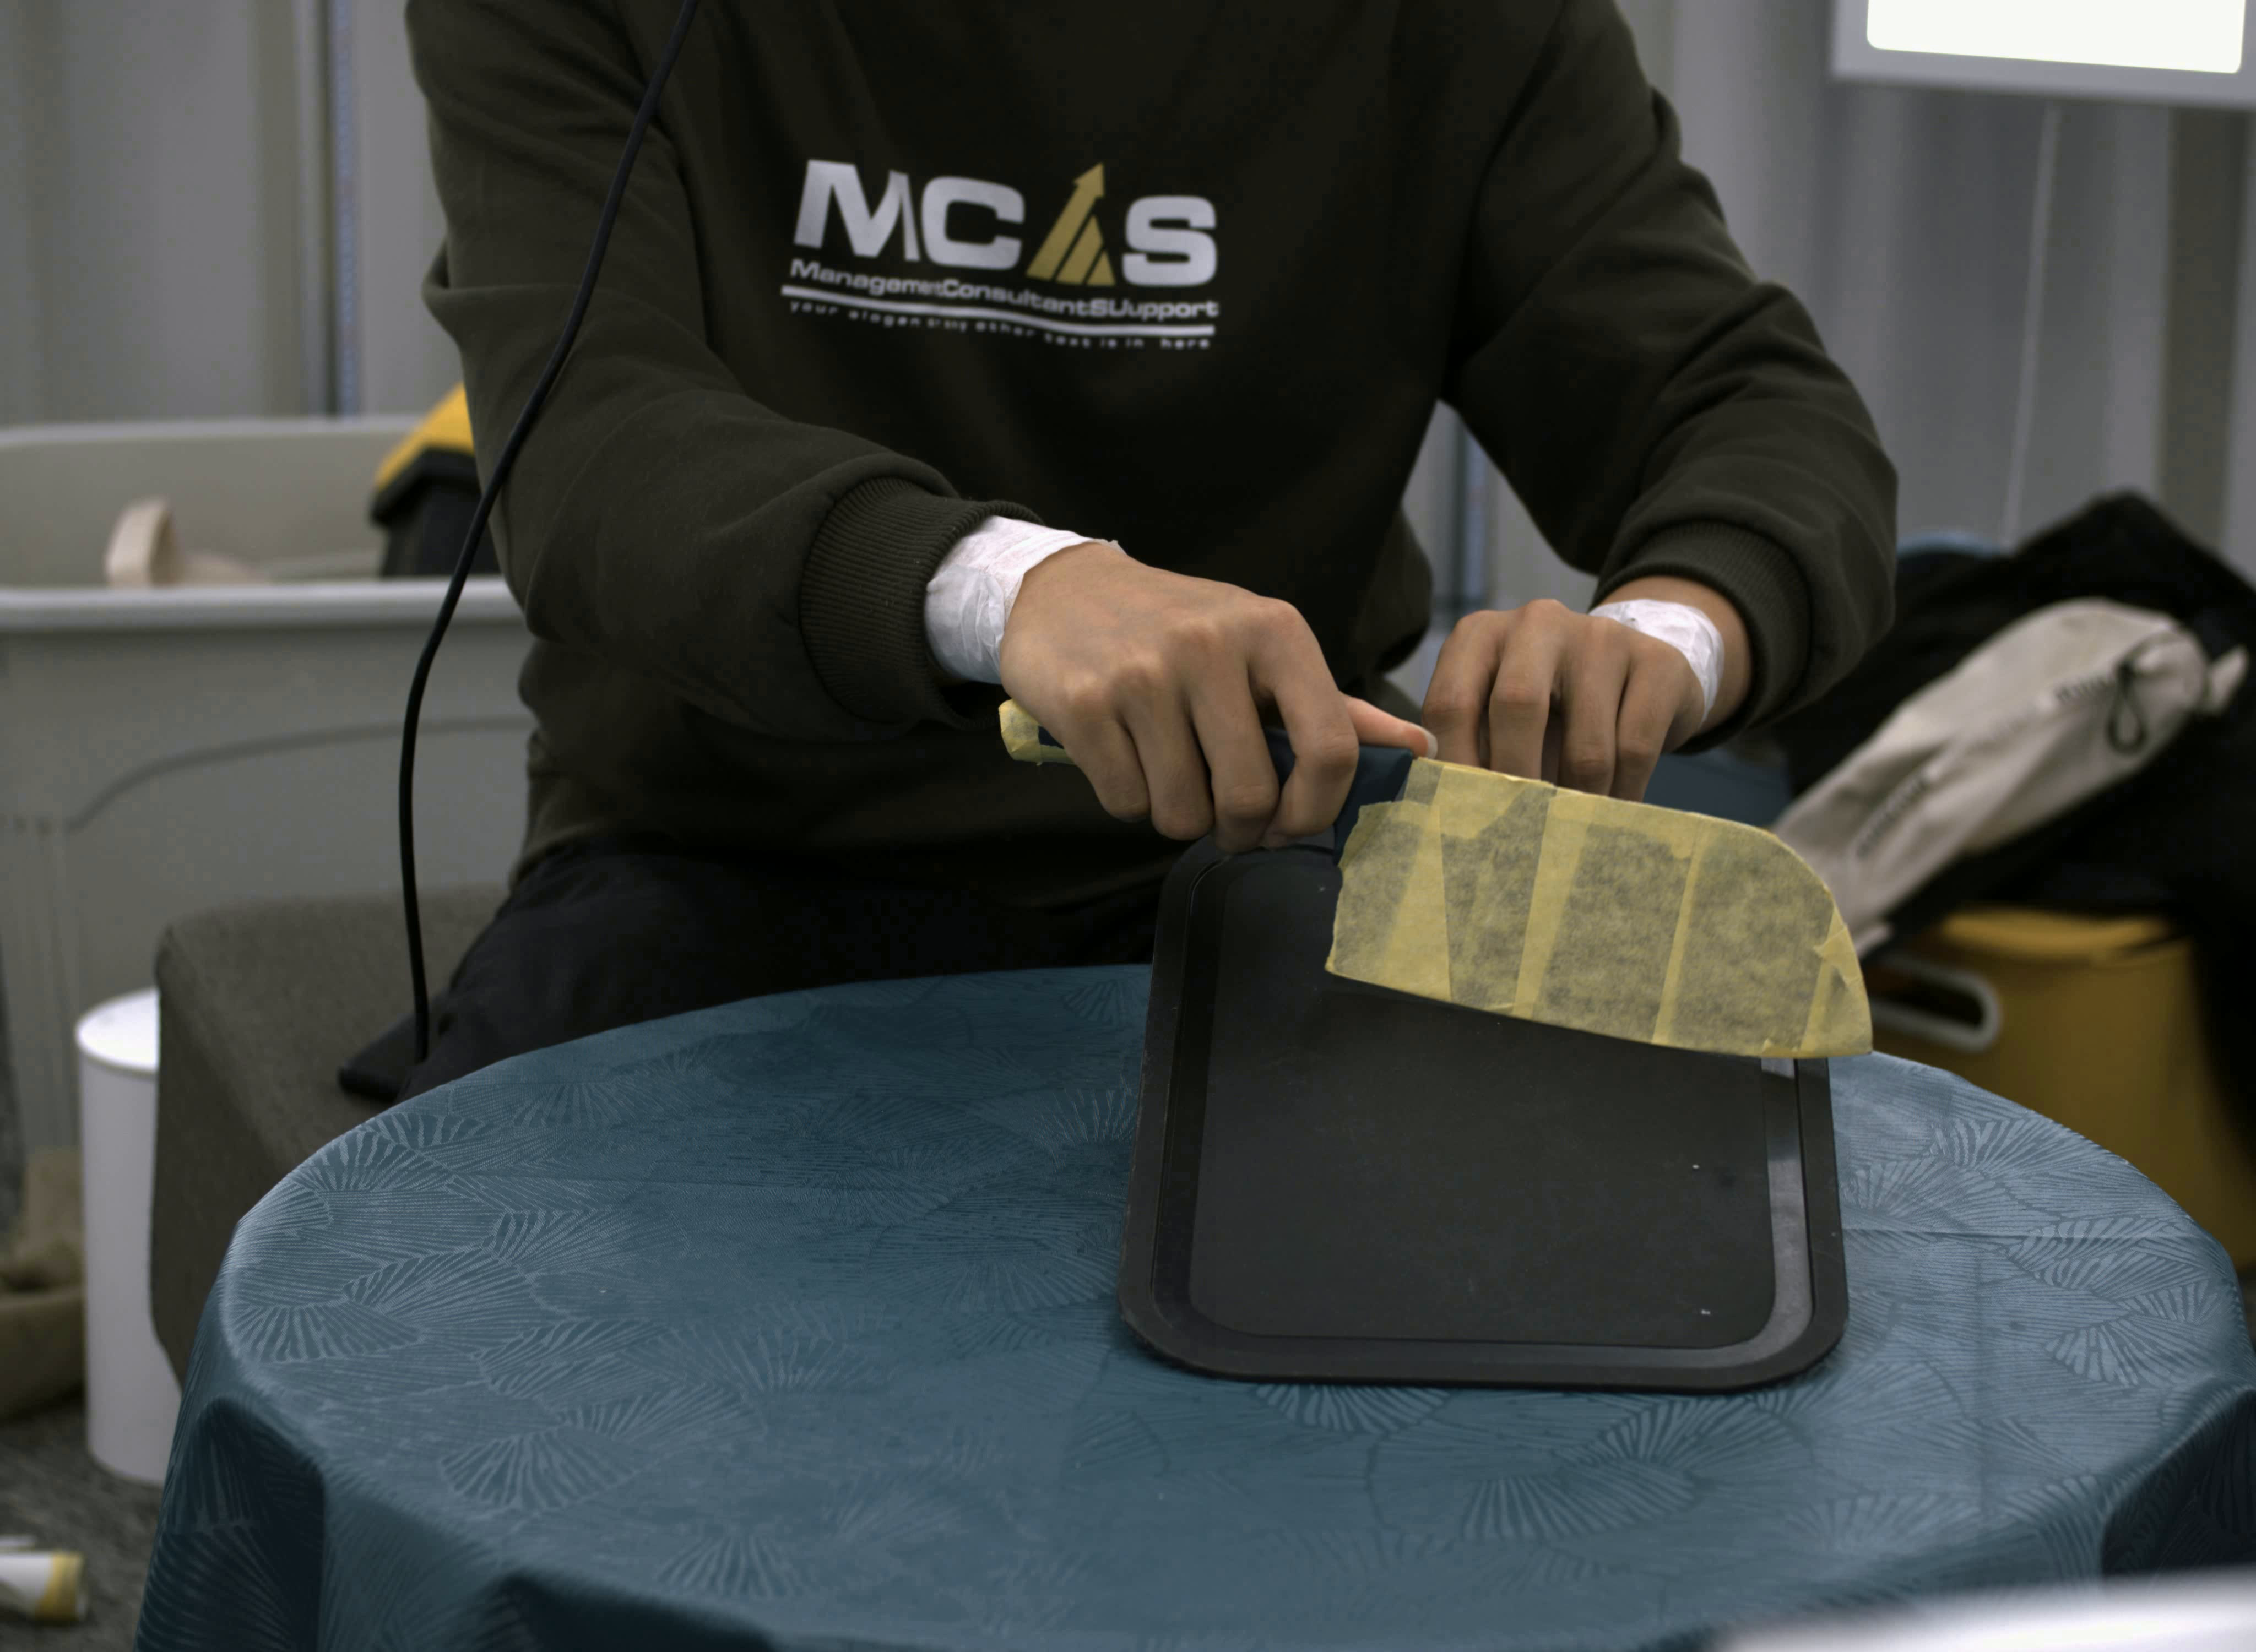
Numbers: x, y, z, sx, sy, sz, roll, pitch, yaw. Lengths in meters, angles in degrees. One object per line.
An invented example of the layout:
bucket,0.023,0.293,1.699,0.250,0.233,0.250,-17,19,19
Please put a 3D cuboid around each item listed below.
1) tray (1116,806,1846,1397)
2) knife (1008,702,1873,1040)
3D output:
tray,0.108,0.072,1.602,0.210,0.010,0.323,2,31,3
knife,0.093,0.012,1.638,0.287,0.081,0.027,14,0,17
